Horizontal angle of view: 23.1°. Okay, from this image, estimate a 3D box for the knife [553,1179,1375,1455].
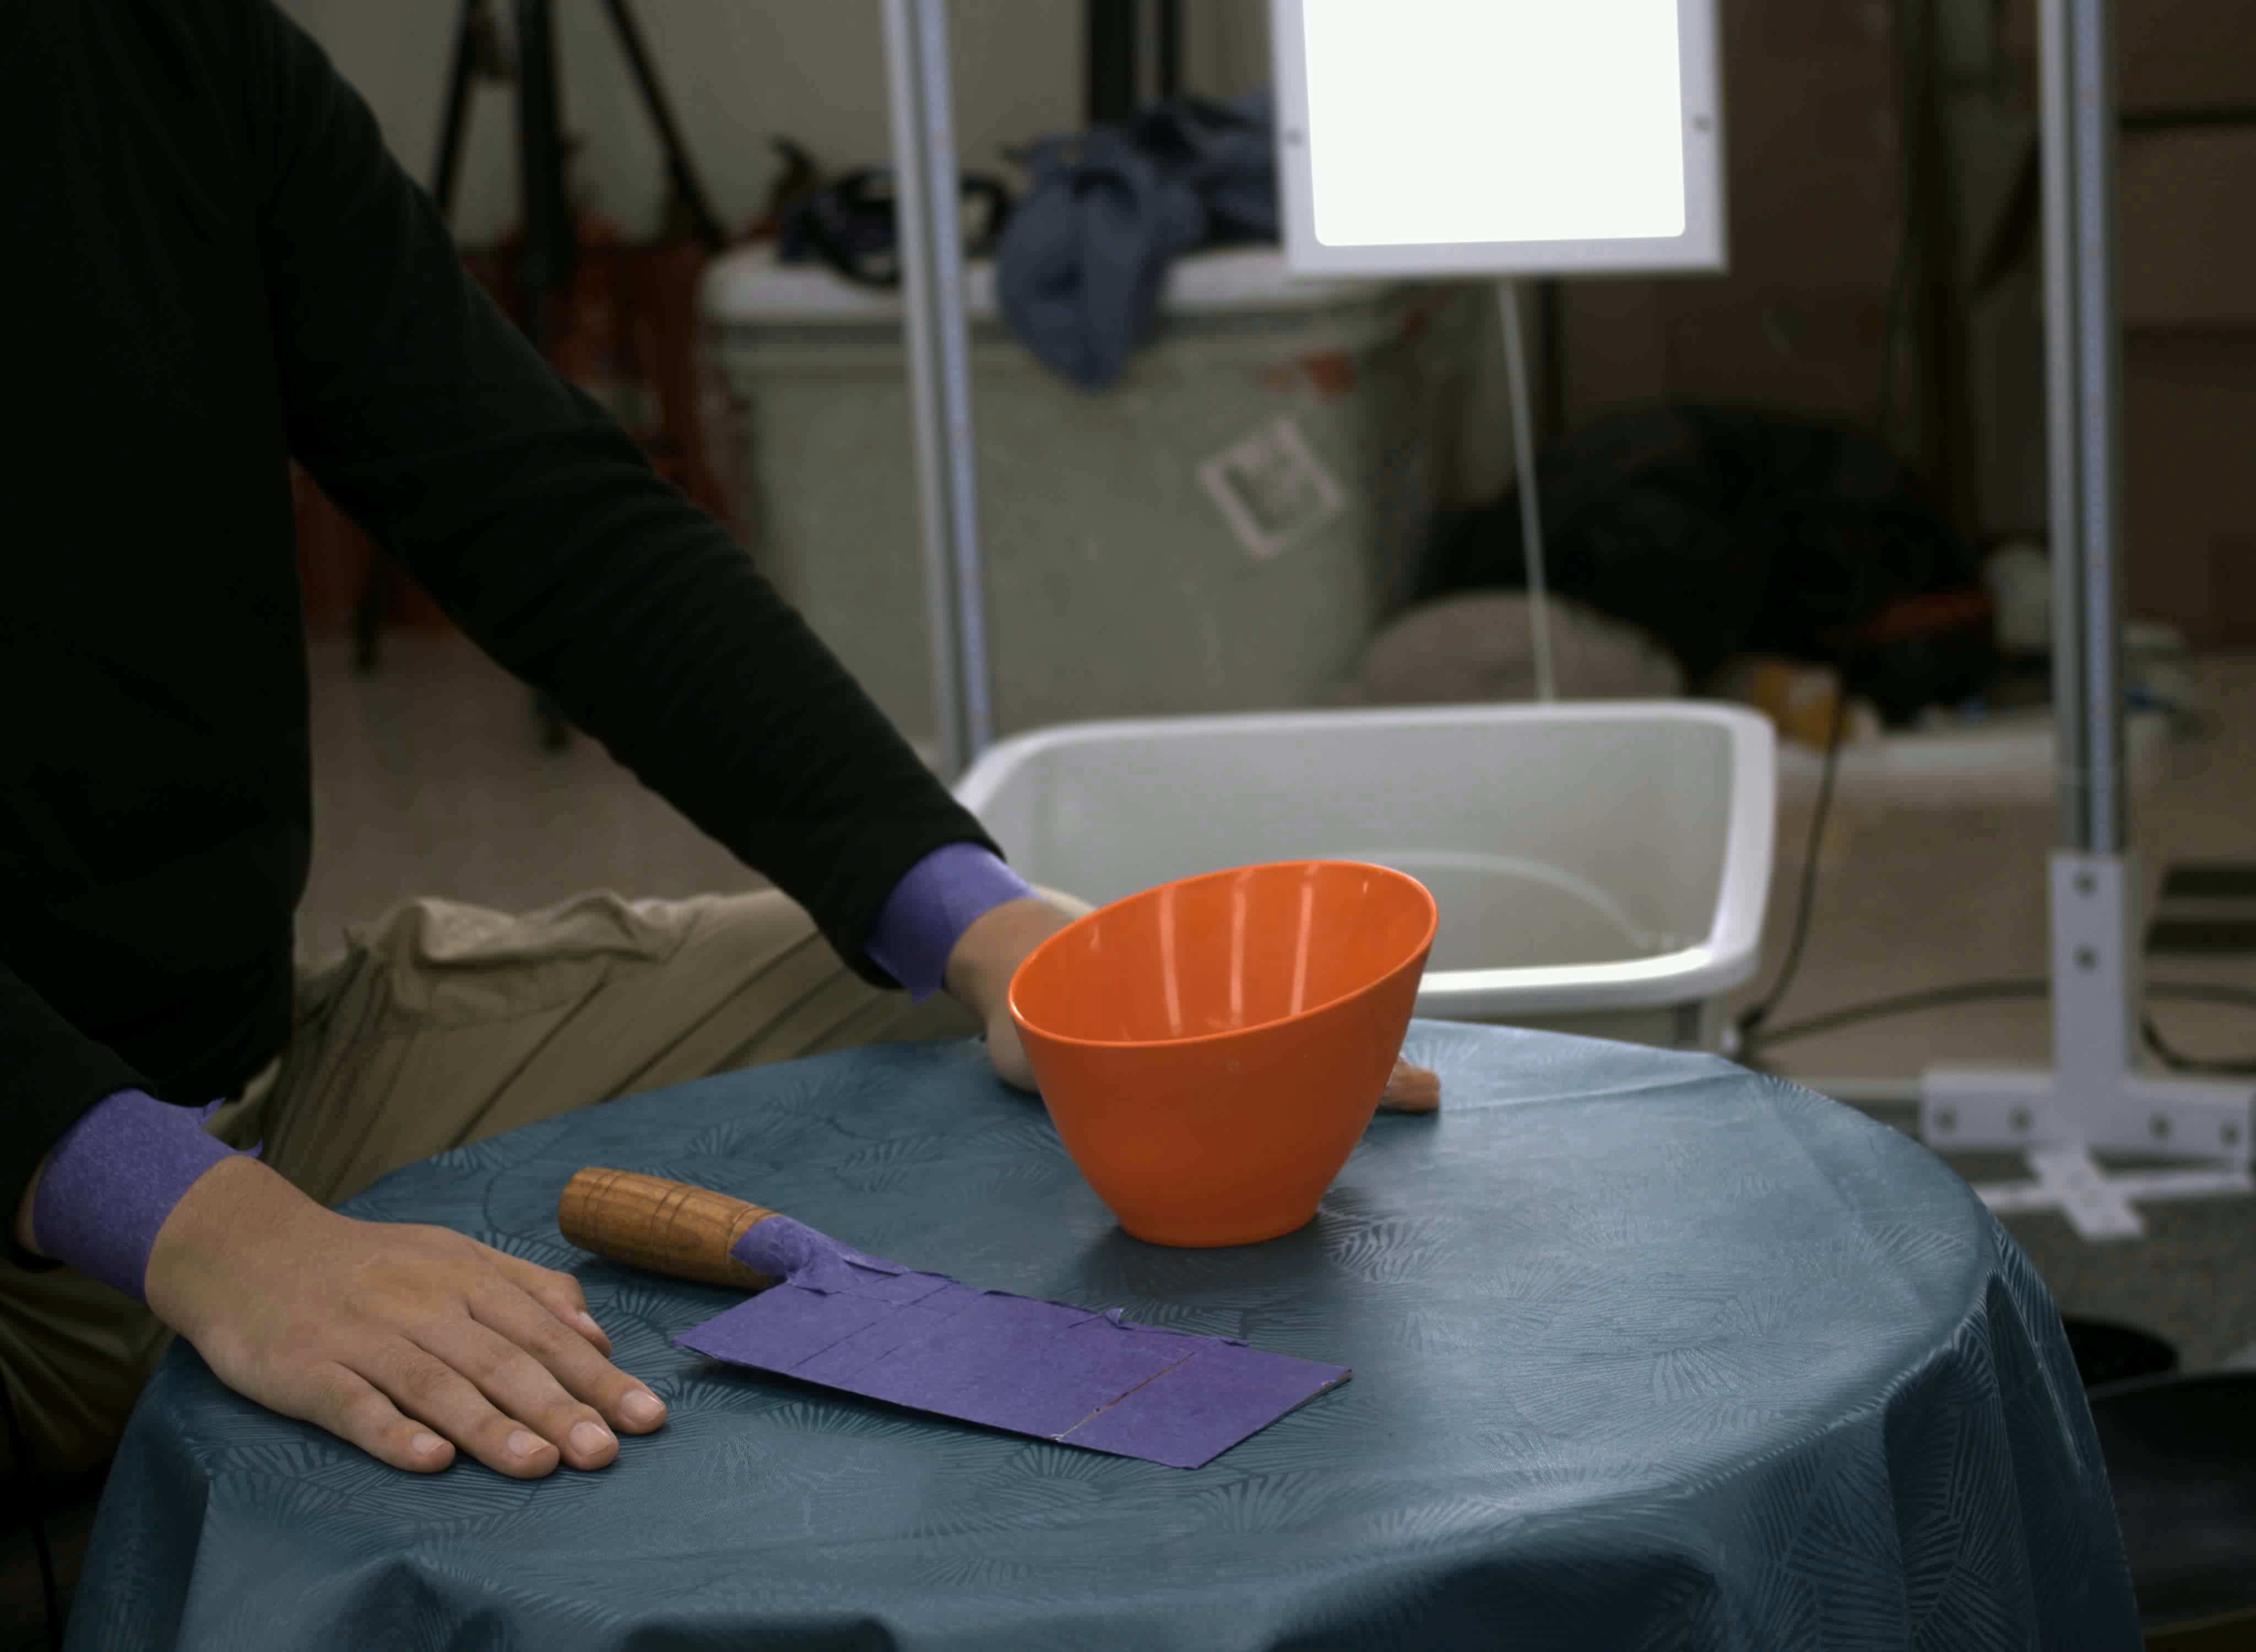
[{"bbox_3d":[-0.077,0.155,1.756,0.322,0.032,0.101,6,17,37],"label":"knife"}]

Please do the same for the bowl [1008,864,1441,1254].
[{"bbox_3d":[0.035,0.082,1.856,0.147,0.105,0.148,-5,15,0],"label":"bowl"}]
